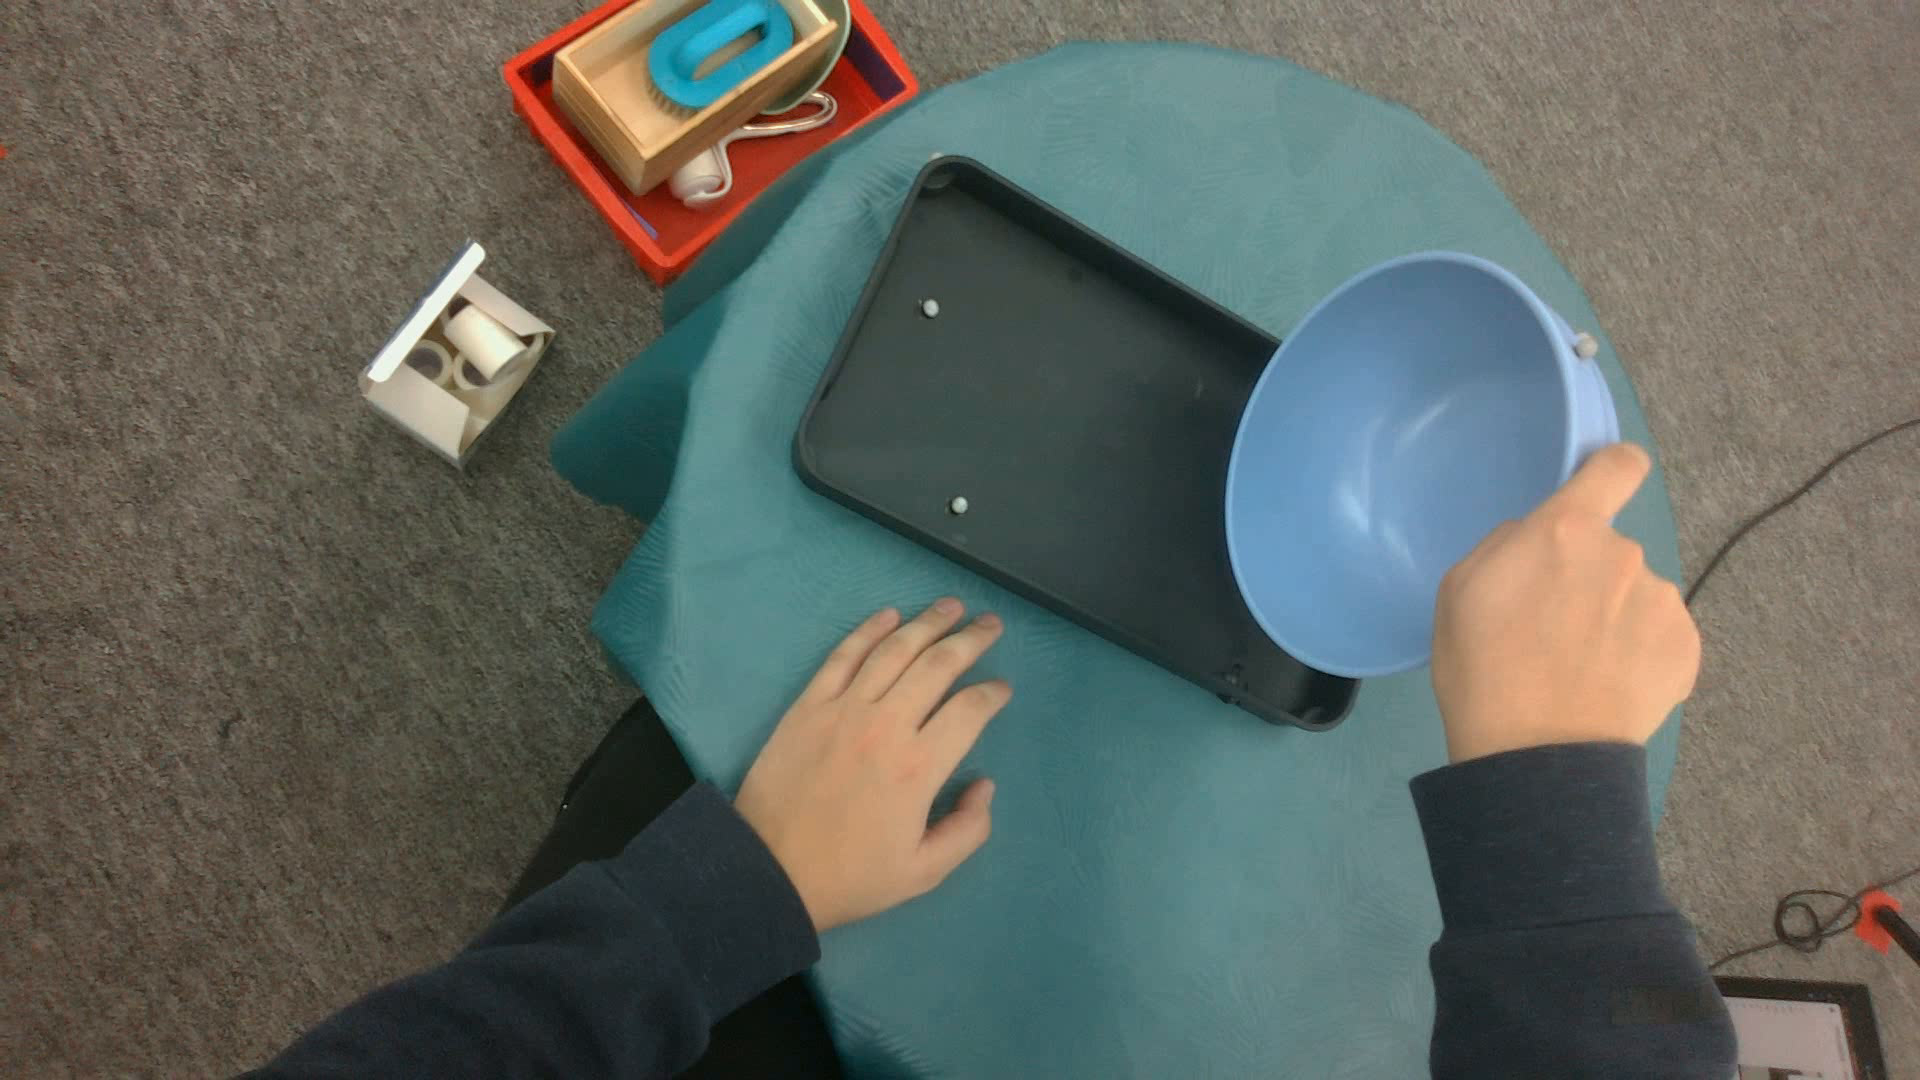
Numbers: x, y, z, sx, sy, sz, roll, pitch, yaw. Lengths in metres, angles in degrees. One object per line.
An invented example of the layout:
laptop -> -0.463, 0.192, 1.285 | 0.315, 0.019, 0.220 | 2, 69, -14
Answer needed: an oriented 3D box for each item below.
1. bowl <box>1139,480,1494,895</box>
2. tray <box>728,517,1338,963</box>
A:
bowl -> 0.187, 0.072, 0.681 | 0.095, 0.195, 0.197 | 6, 62, -31
tray -> 0.047, 0.106, 0.729 | 0.318, 0.037, 0.185 | 14, 61, -10
